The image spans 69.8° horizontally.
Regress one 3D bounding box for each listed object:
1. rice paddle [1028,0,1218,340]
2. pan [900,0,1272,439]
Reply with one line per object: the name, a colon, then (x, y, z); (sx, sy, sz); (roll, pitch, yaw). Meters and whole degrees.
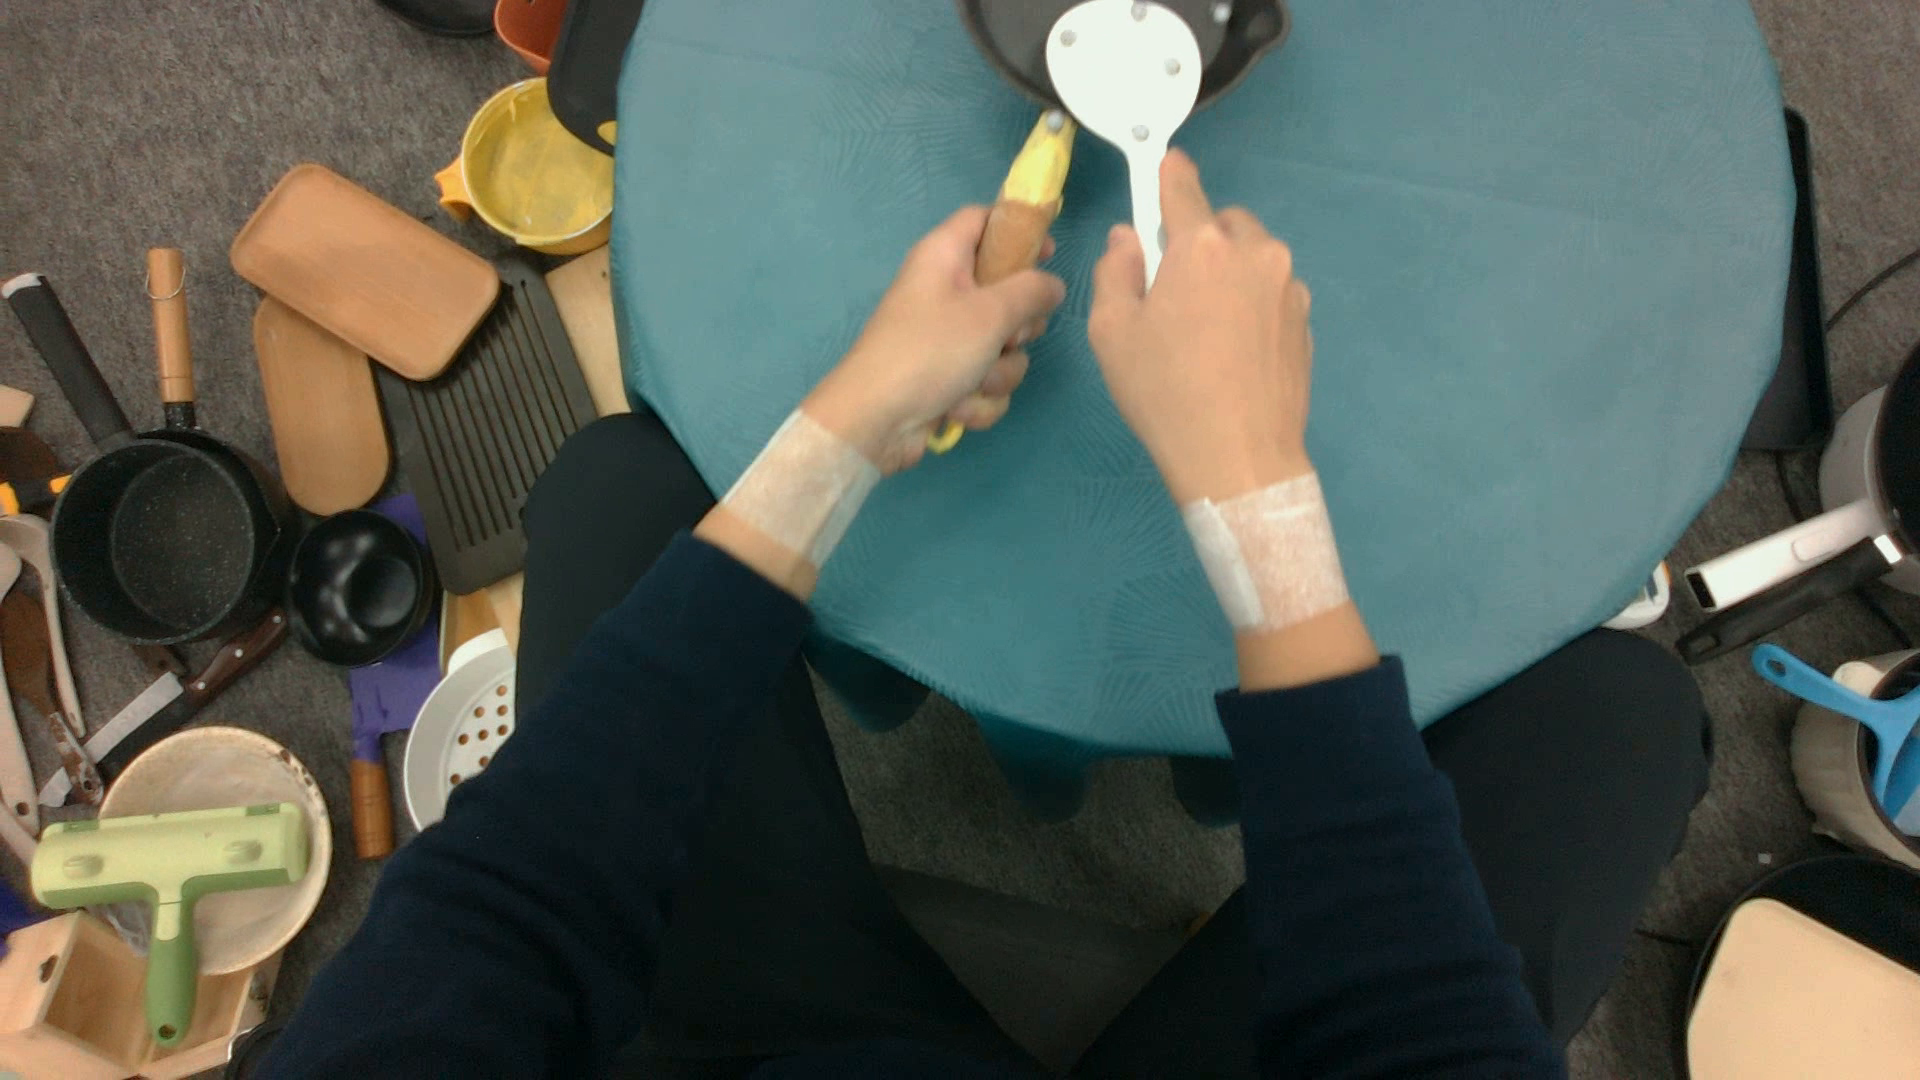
rice paddle: (0.074, -0.177, 0.601); (0.069, 0.029, 0.206); (-7, 61, -4)
pan: (0.034, -0.196, 0.631); (0.169, 0.049, 0.324); (22, 84, -5)
